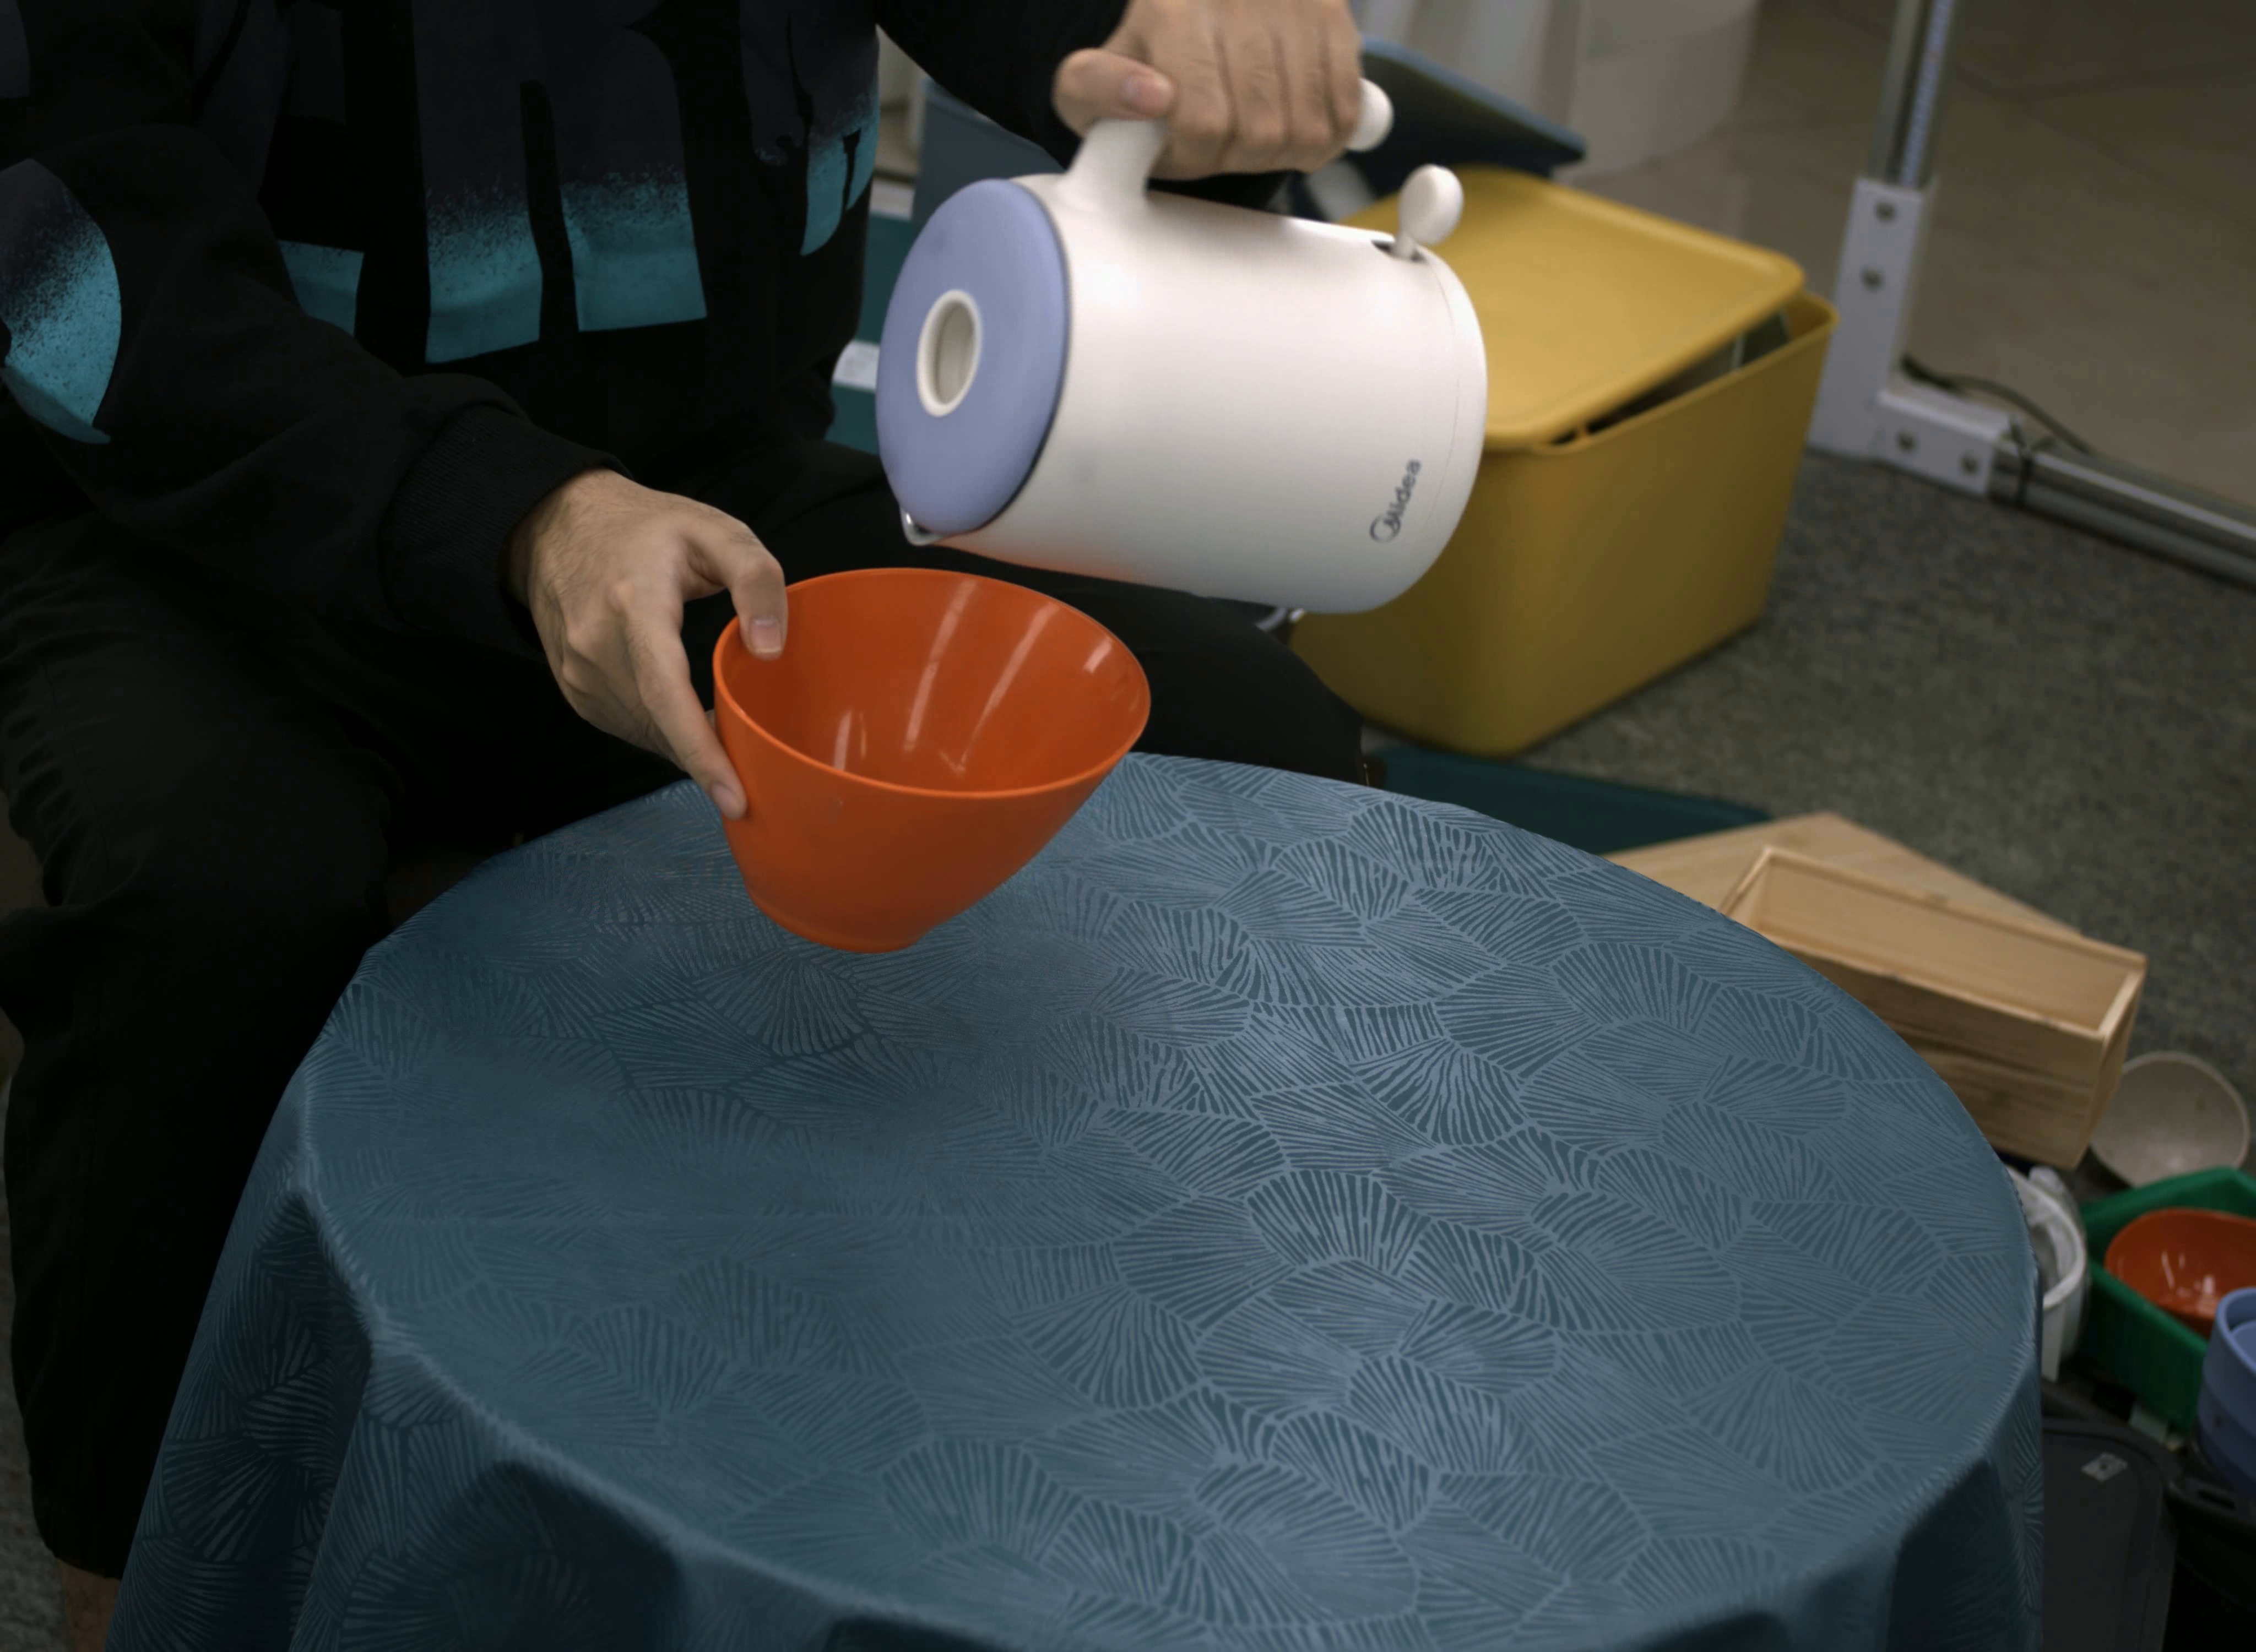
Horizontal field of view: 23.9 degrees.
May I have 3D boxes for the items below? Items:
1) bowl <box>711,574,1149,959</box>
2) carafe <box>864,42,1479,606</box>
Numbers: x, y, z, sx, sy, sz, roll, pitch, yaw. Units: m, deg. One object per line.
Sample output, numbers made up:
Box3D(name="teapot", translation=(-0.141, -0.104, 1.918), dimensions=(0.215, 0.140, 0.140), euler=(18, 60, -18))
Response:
Box3D(name="bowl", translation=(-0.077, -0.014, 1.820), dimensions=(0.147, 0.104, 0.149), euler=(14, 27, -8))
Box3D(name="carafe", translation=(0.022, -0.169, 1.778), dimensions=(0.181, 0.191, 0.133), euler=(9, 23, -31))
